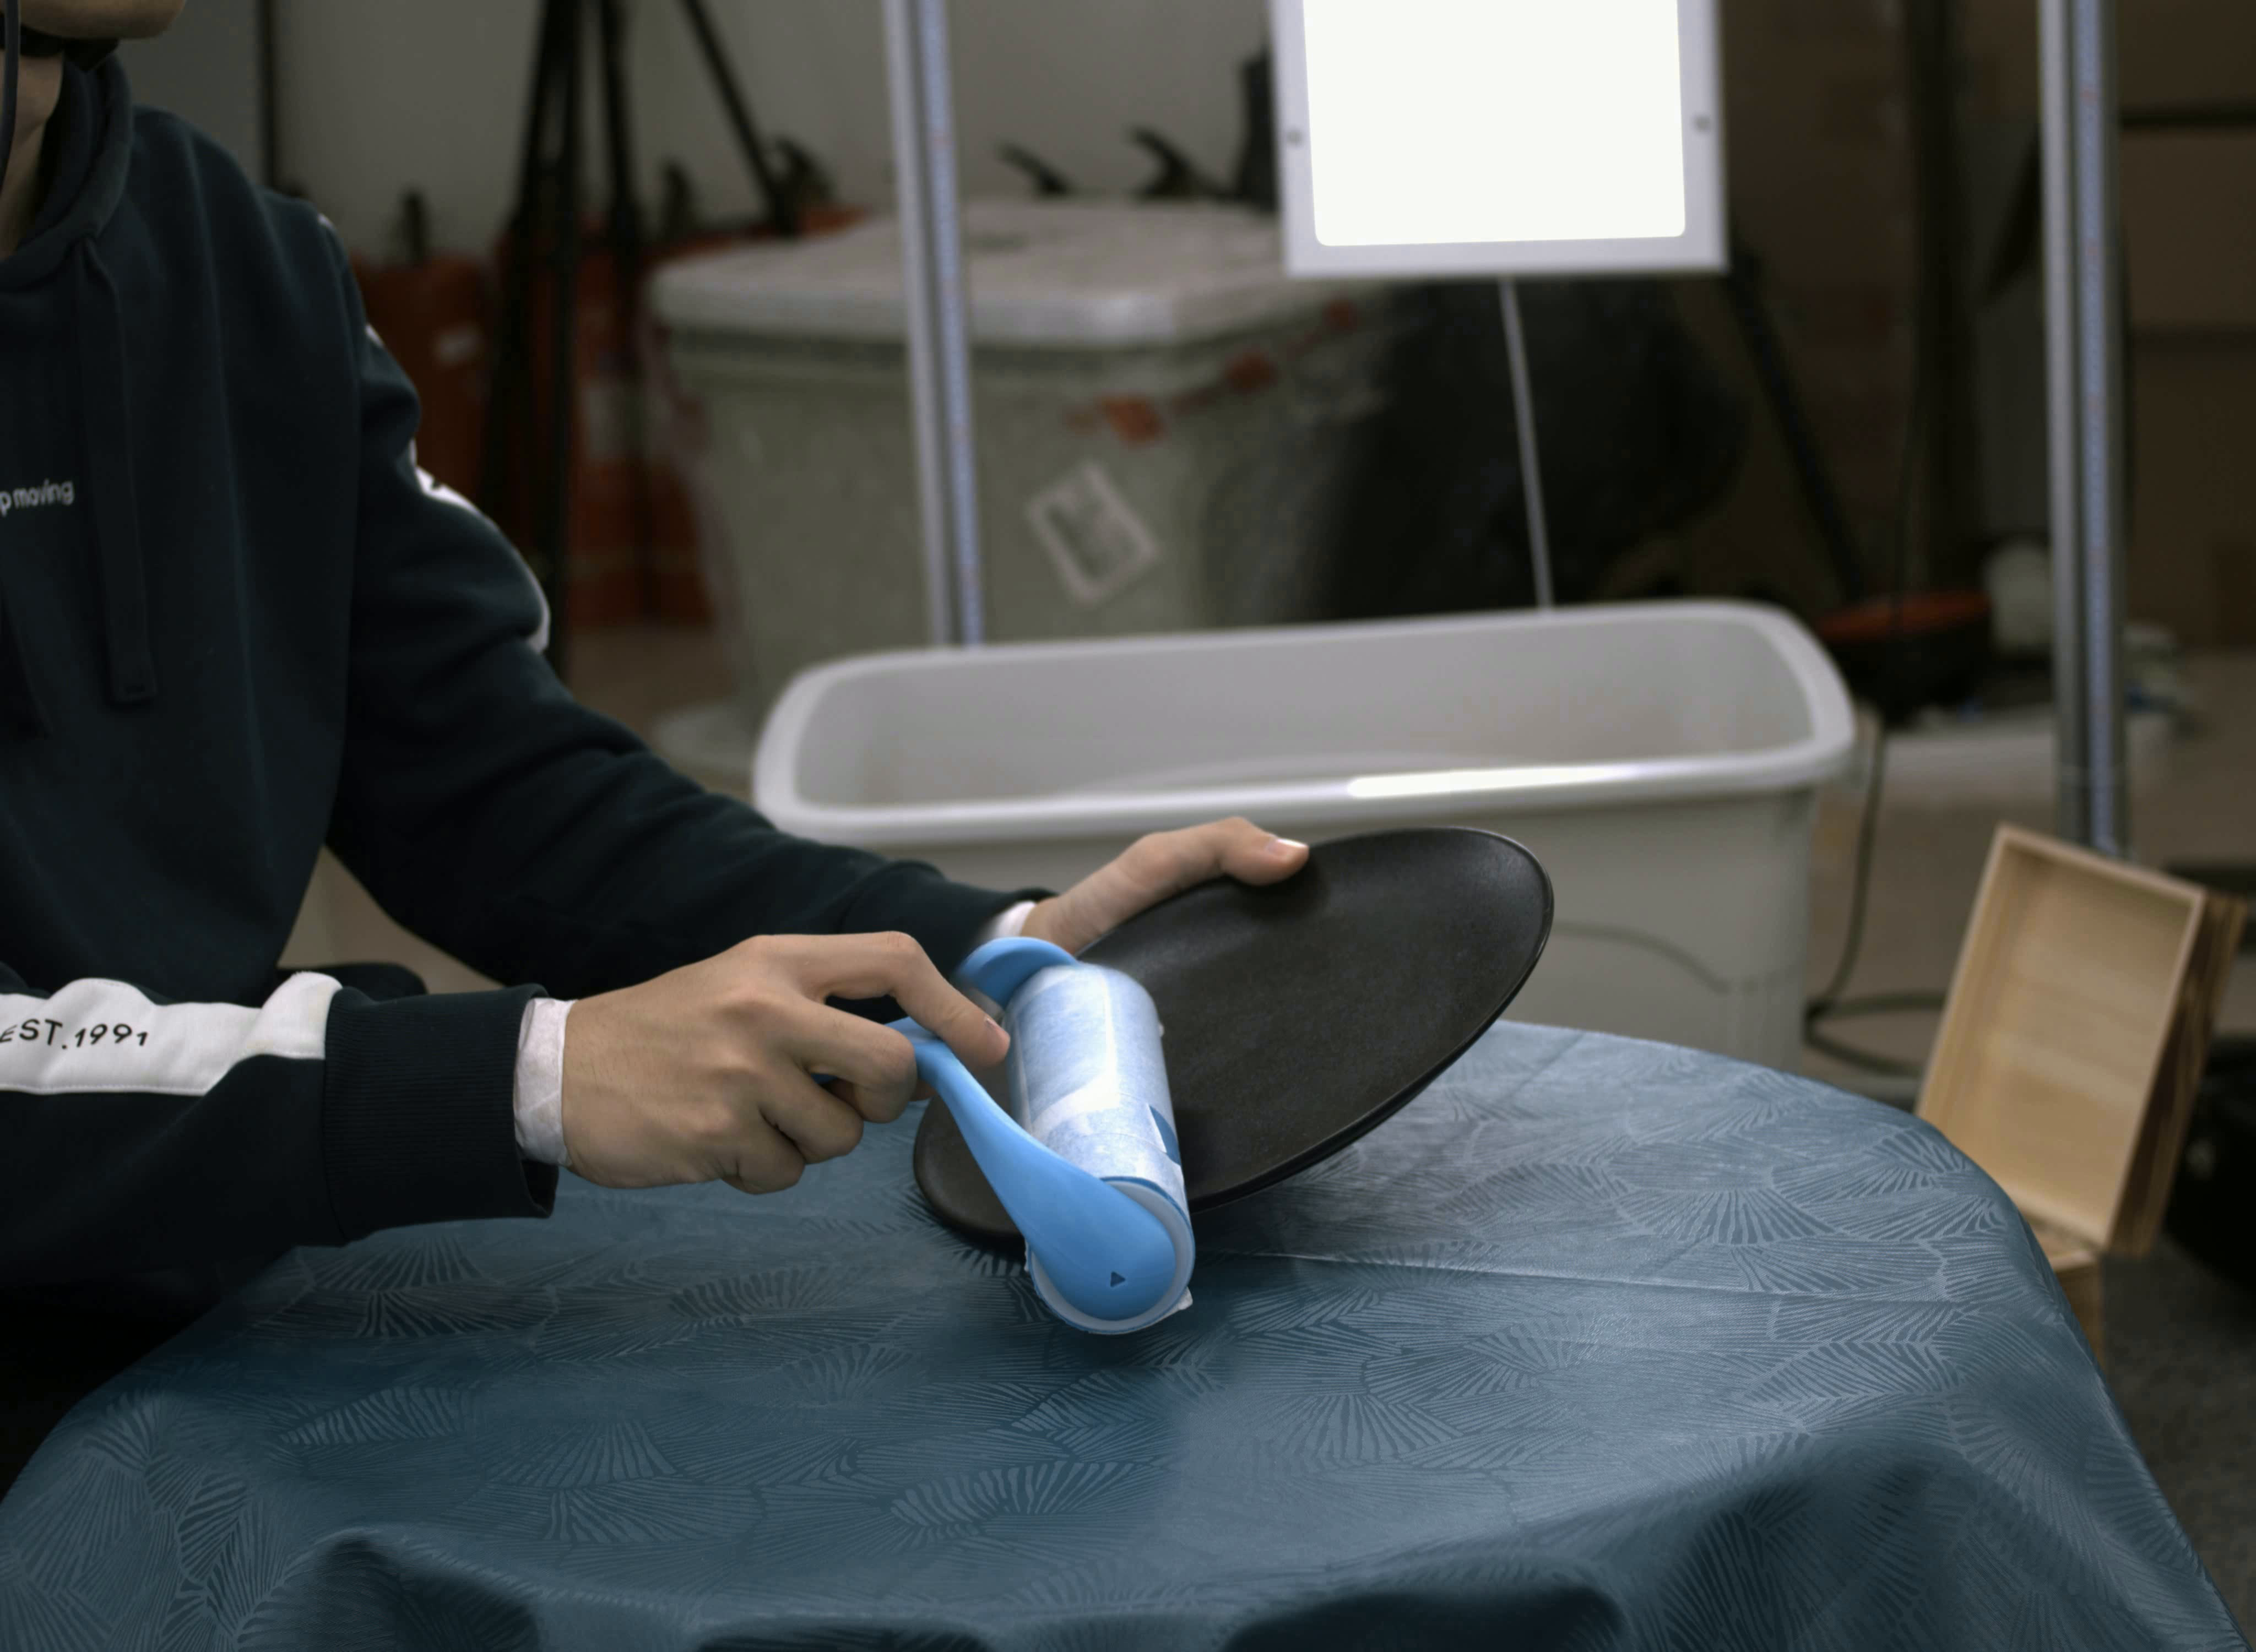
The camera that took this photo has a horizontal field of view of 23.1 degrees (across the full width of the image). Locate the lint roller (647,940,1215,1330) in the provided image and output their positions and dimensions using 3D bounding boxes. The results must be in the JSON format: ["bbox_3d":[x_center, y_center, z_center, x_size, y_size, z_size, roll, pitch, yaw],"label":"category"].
[{"bbox_3d":[-0.066,0.098,1.796,0.179,0.068,0.229,2,20,-6],"label":"lint roller"}]

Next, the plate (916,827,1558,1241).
[{"bbox_3d":[0.040,0.076,1.896,0.246,0.023,0.244,-25,22,9],"label":"plate"}]
